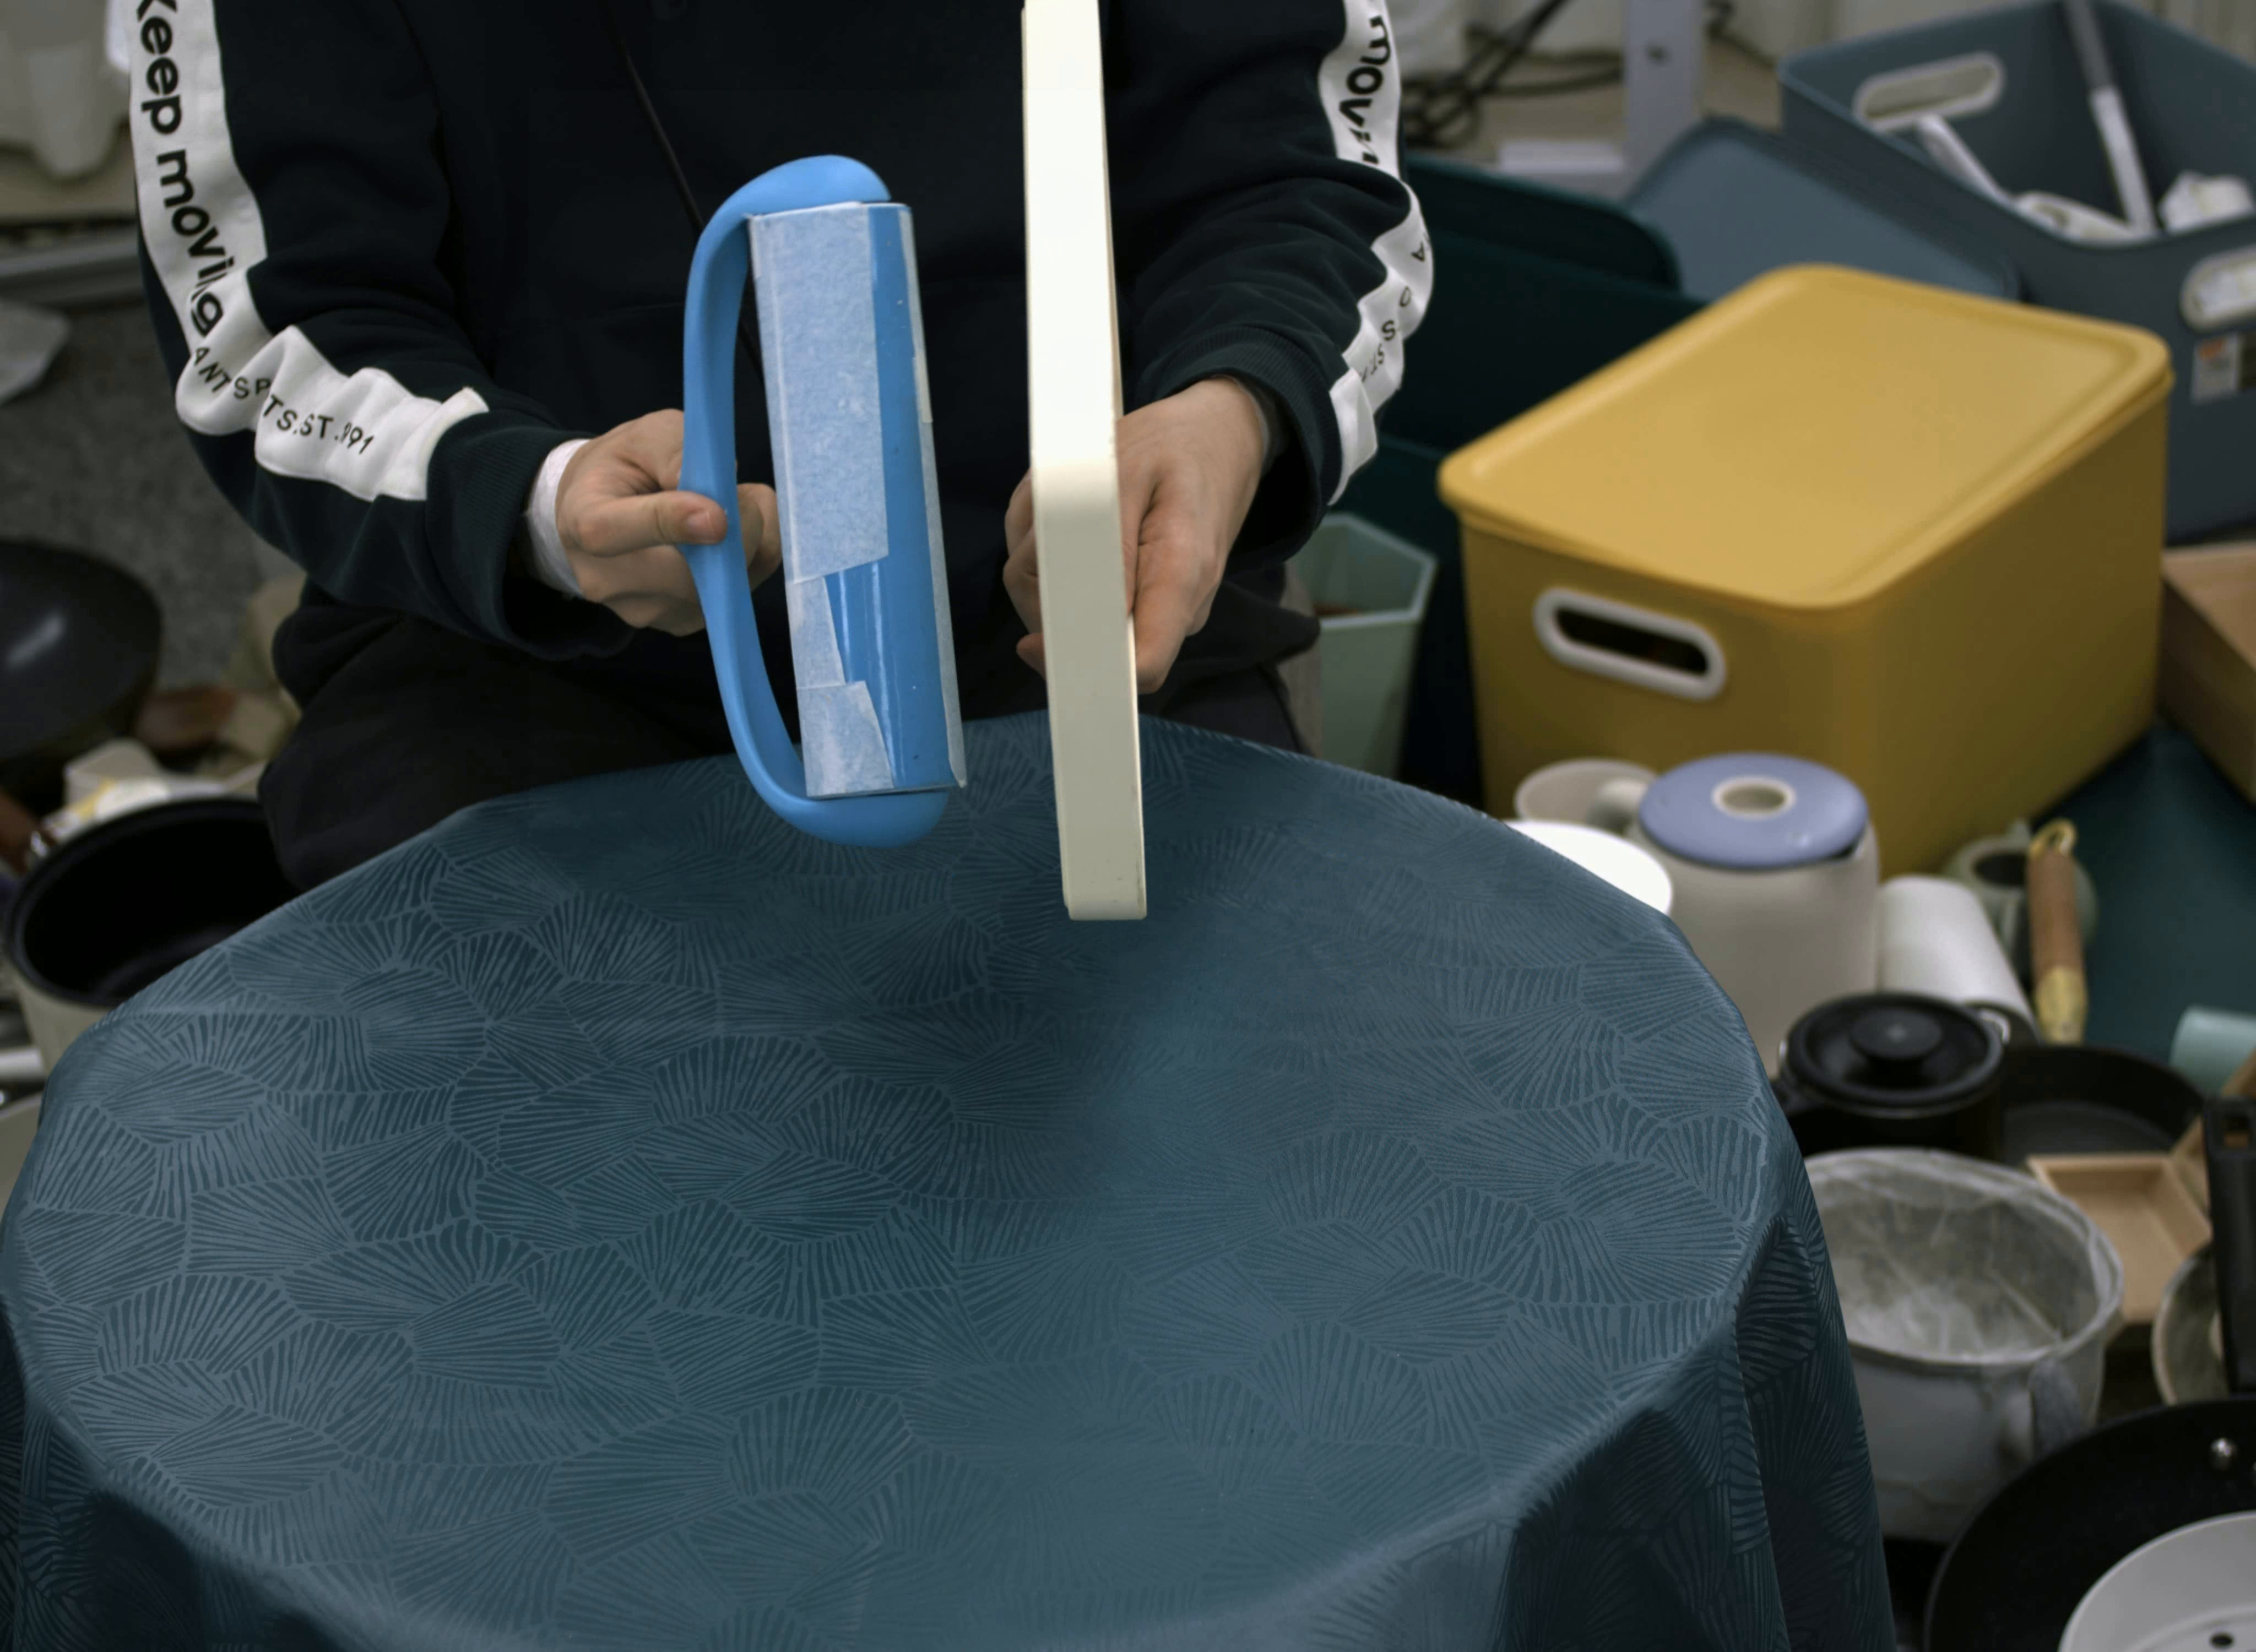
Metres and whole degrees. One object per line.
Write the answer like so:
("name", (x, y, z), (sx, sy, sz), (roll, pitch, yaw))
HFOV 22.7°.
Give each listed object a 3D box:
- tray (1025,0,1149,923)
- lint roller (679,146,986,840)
("tray", (-0.015, -0.127, 1.877), (0.027, 0.189, 0.306), (-3, 36, 0))
("lint roller", (-0.118, -0.103, 1.904), (0.068, 0.230, 0.178), (-9, -3, -32))
